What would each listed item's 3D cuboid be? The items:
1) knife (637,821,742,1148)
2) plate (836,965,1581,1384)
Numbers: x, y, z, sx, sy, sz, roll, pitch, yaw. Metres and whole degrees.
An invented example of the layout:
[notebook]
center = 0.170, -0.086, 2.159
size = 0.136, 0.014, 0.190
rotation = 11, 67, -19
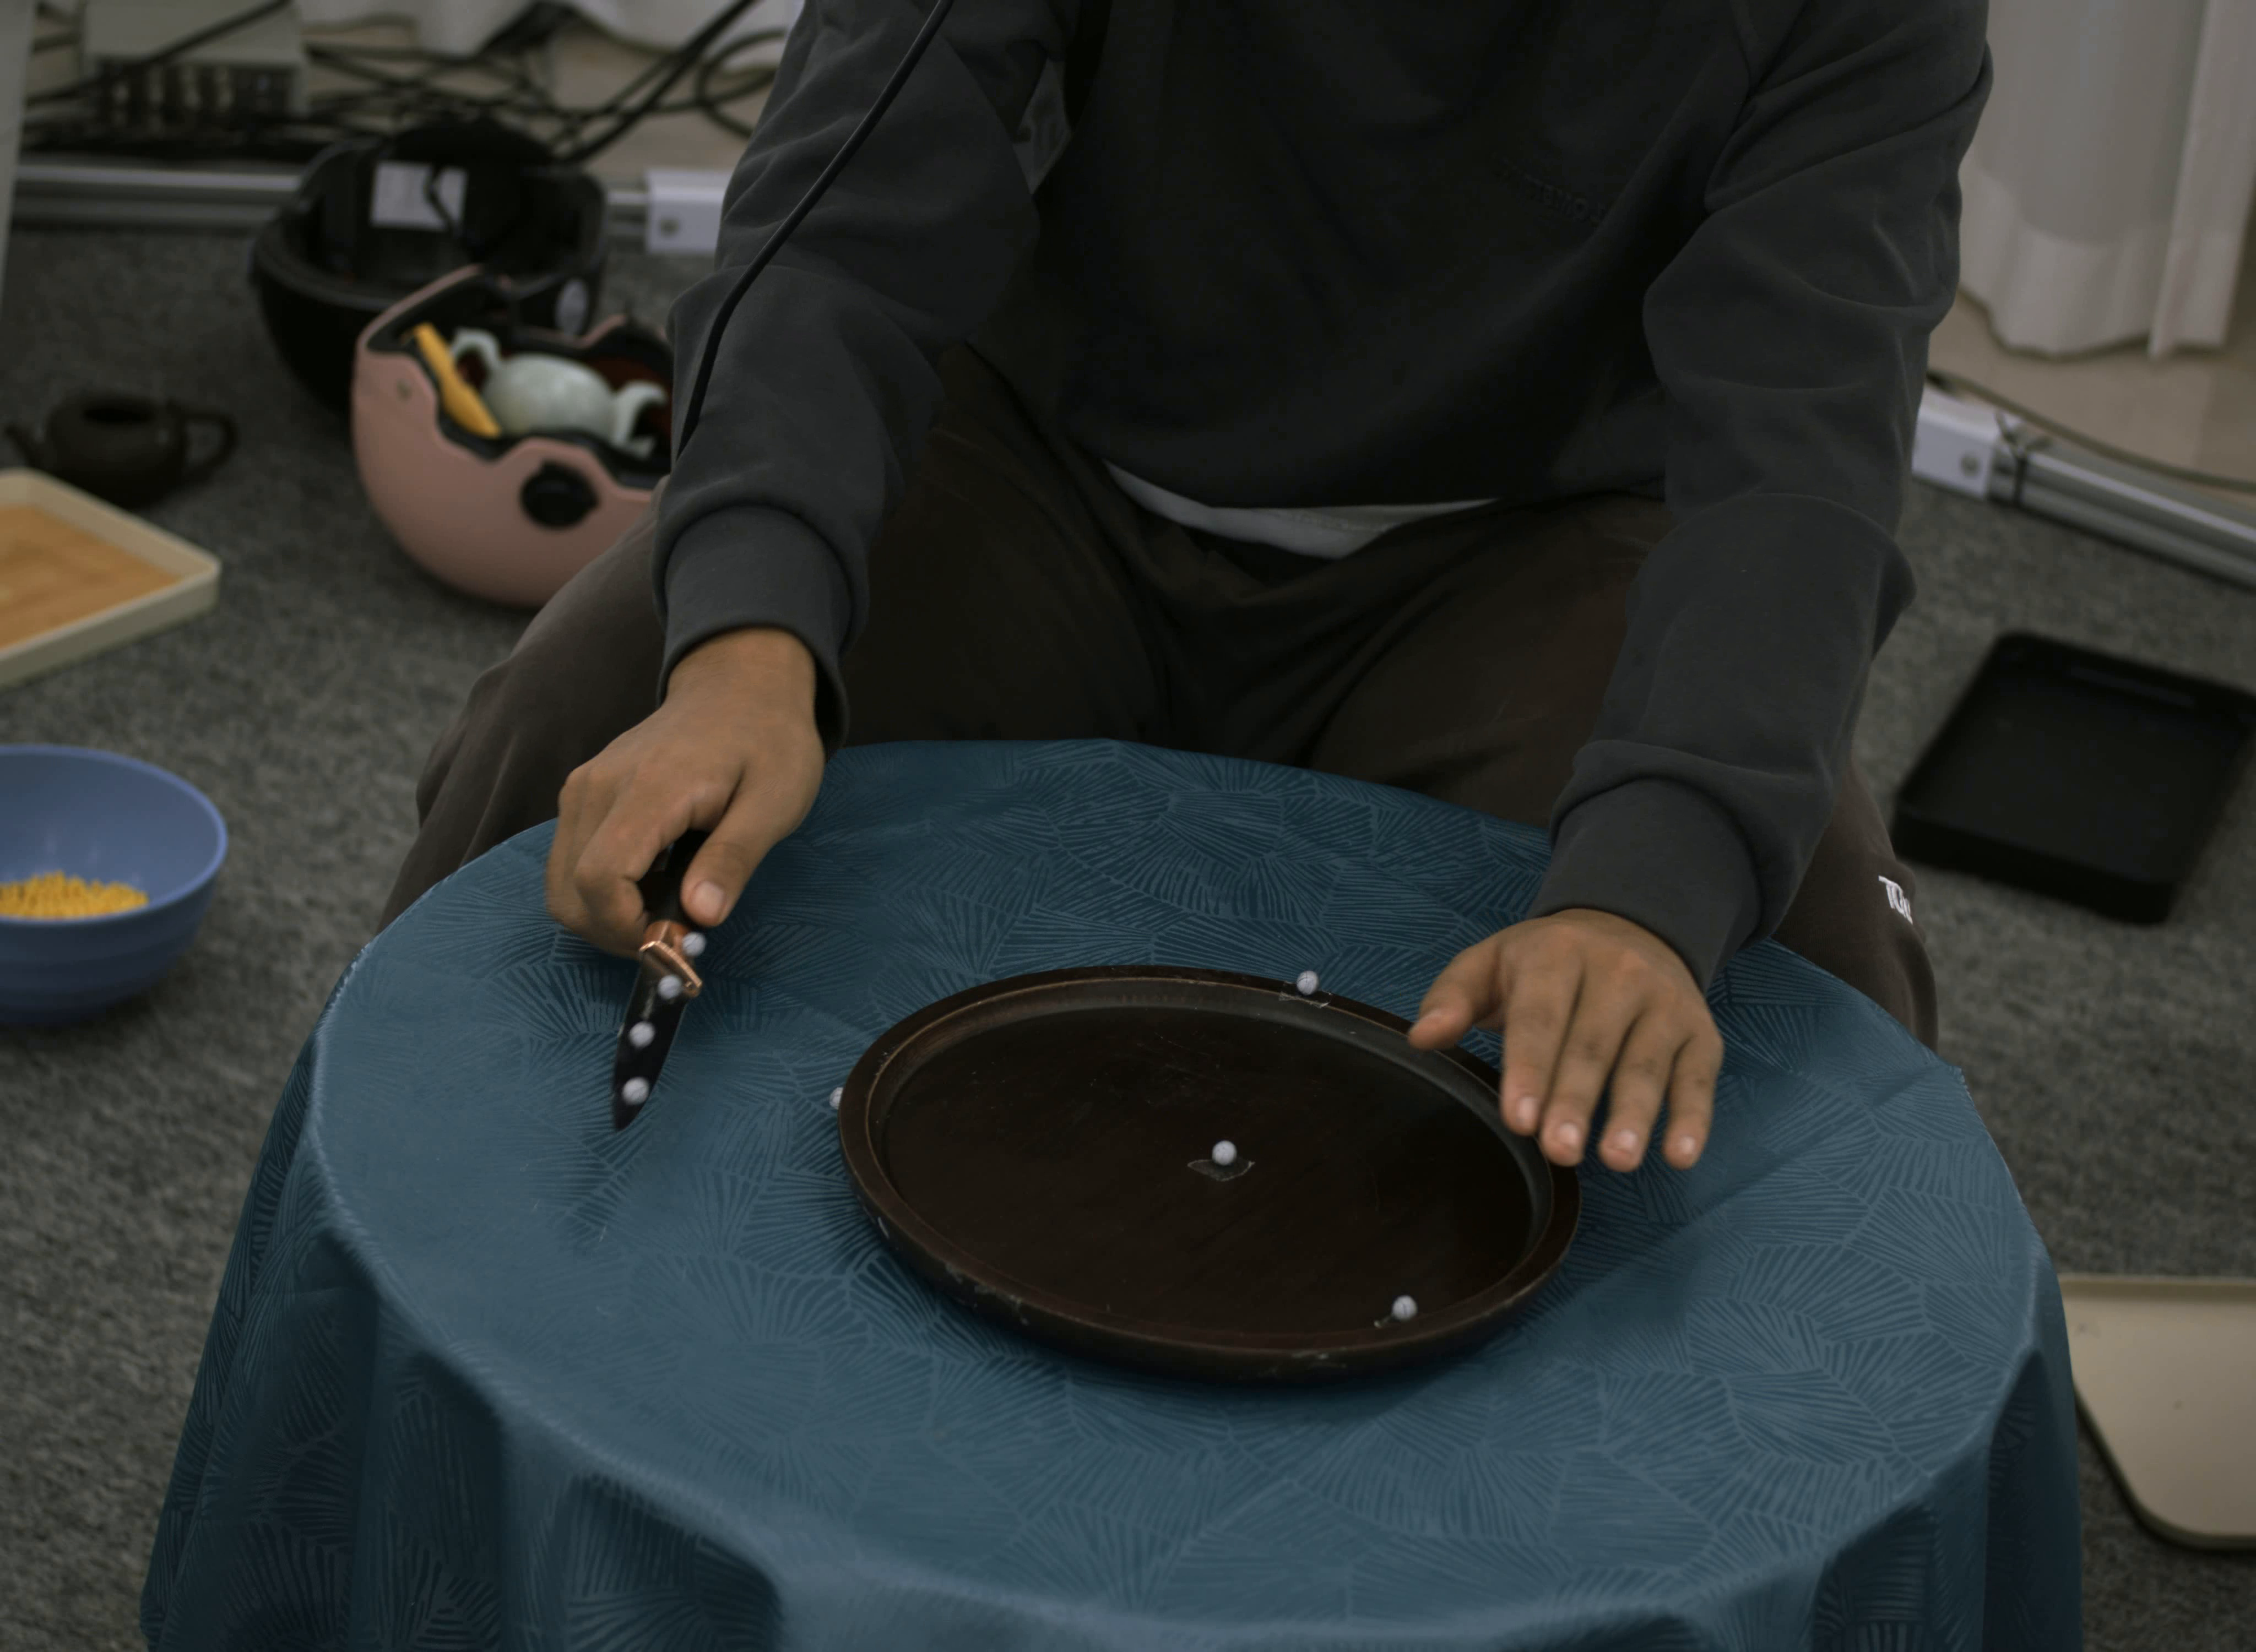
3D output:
[knife]
center = -0.154, 0.052, 1.839
size = 0.026, 0.017, 0.226
rotation = 38, 22, -14
[plate]
center = 0.027, 0.116, 1.802
size = 0.254, 0.029, 0.256
rotation = 5, 26, -3
